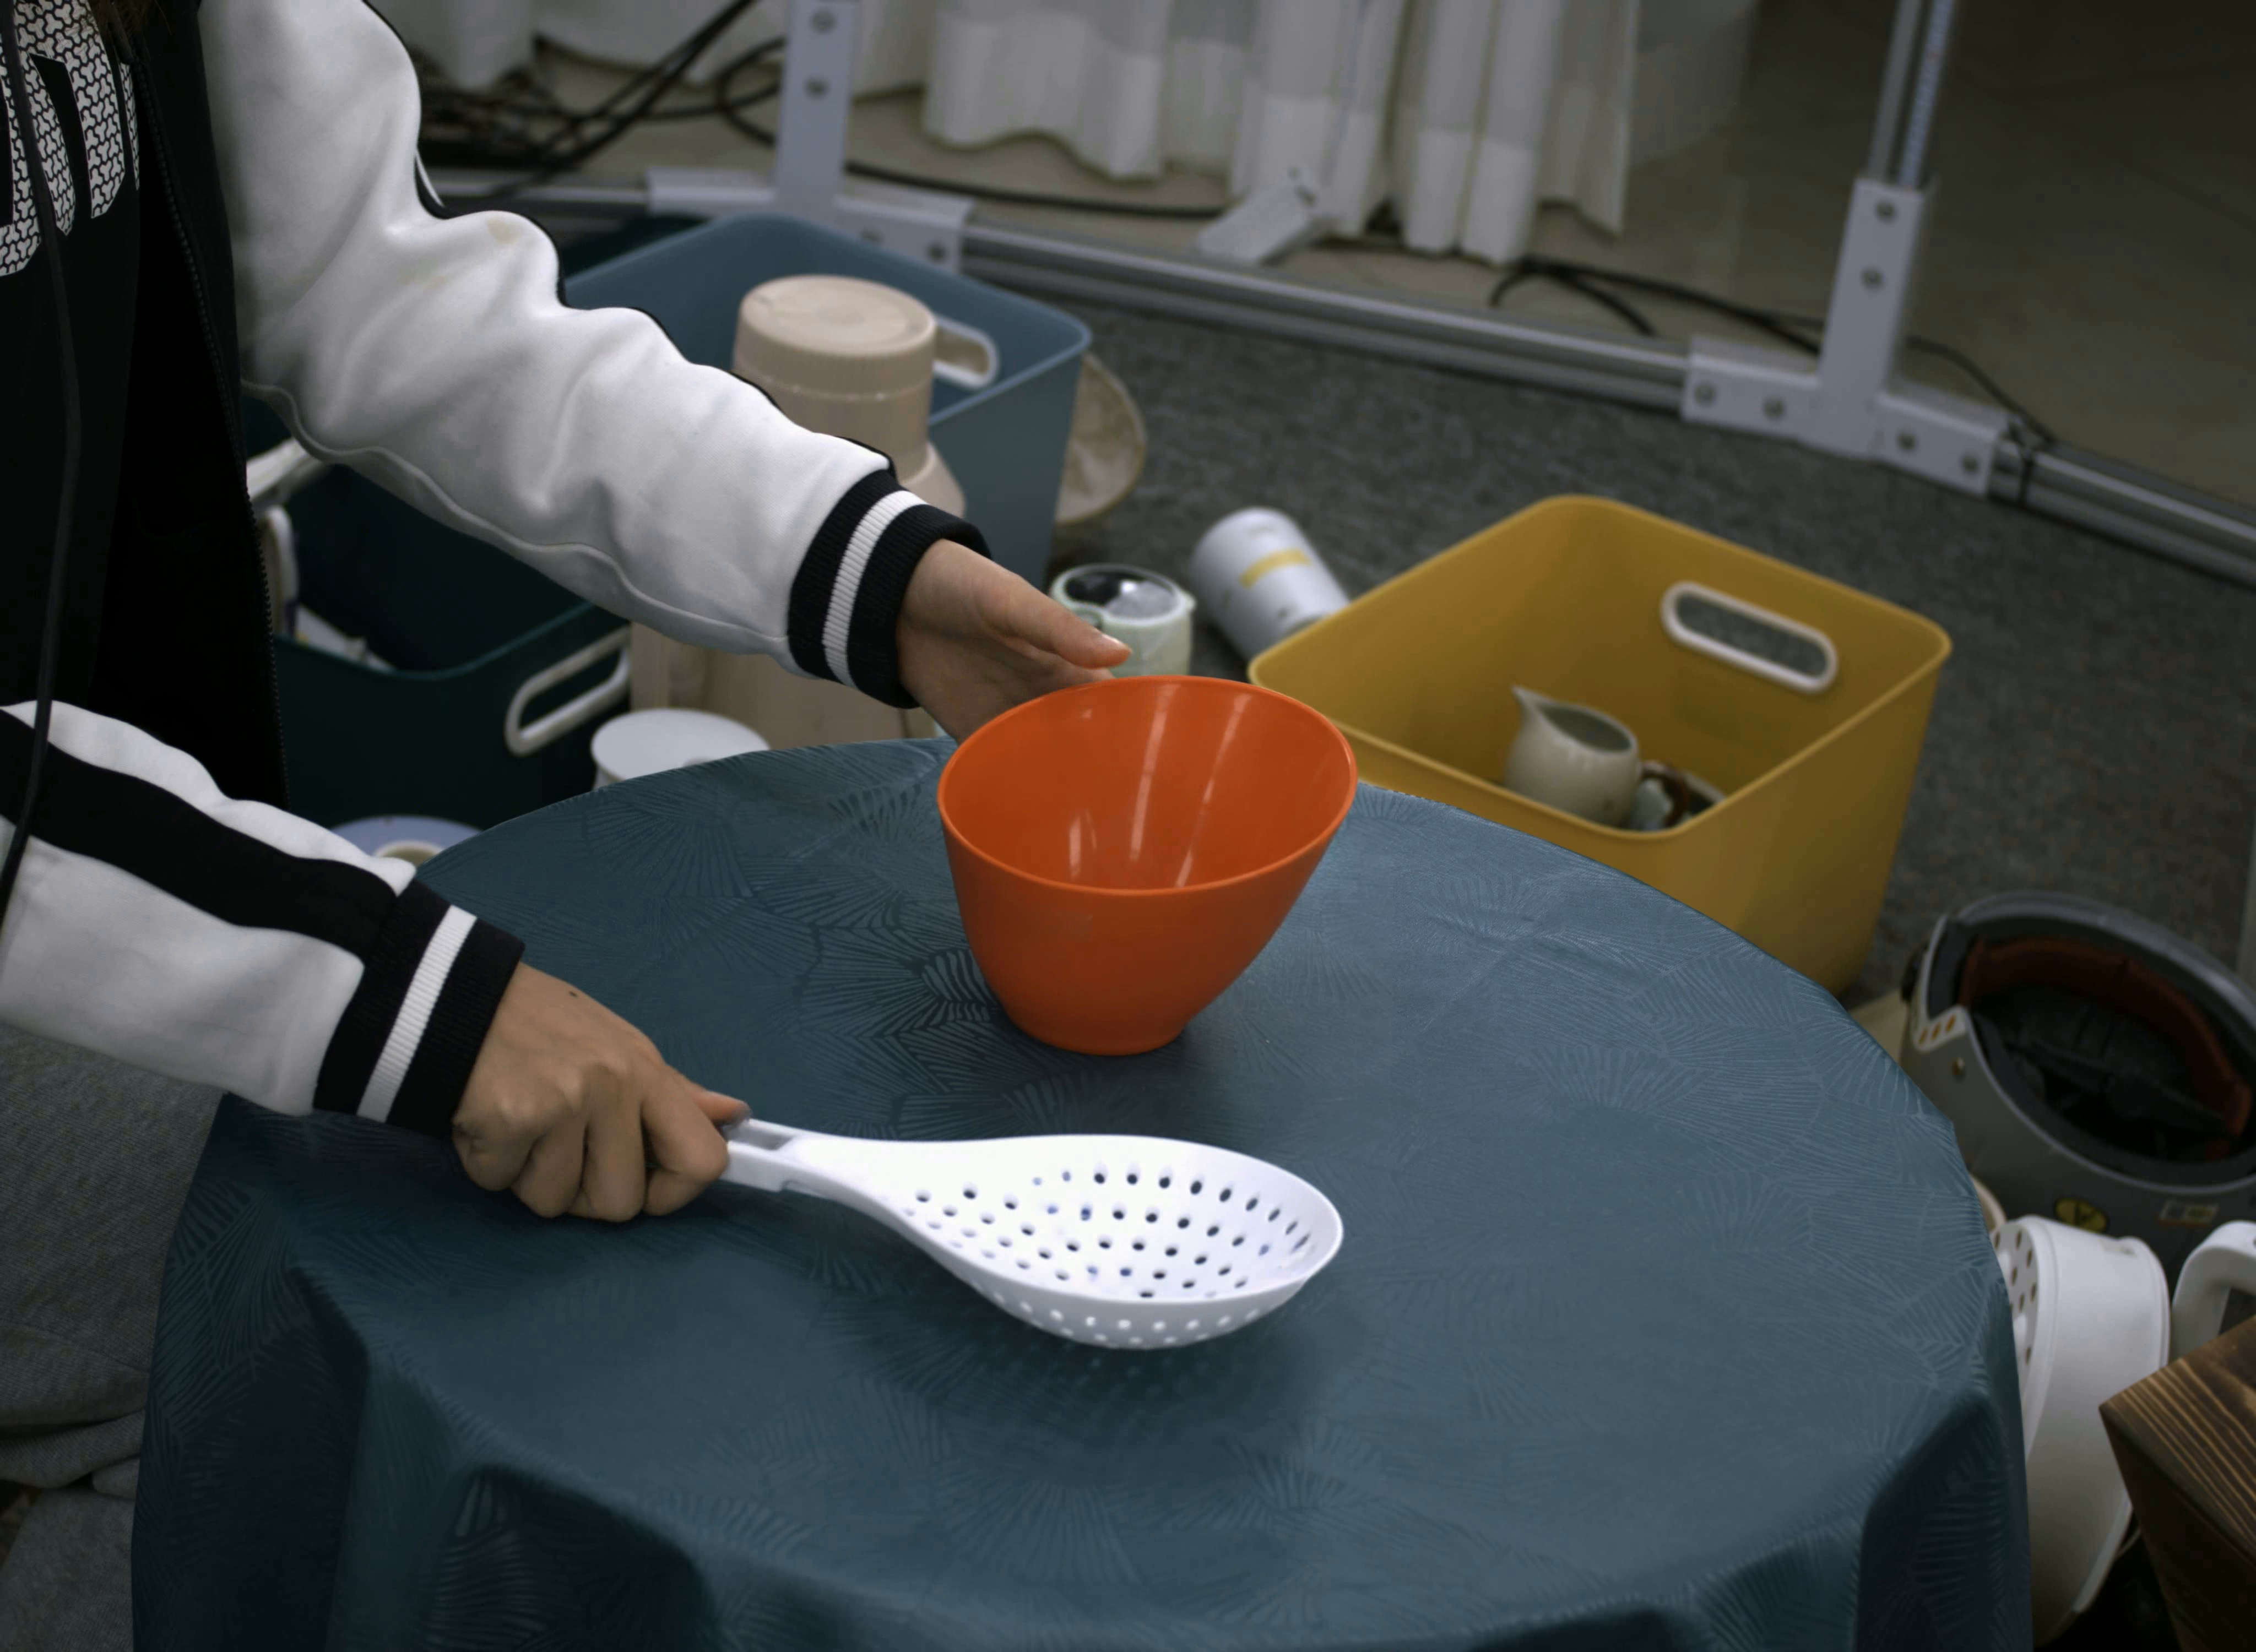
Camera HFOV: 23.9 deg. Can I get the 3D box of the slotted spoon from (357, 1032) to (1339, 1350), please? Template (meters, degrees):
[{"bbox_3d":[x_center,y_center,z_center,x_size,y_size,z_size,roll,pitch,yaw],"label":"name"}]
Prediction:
[{"bbox_3d":[-0.099,0.112,1.752,0.351,0.045,0.136,16,20,20],"label":"slotted spoon"}]

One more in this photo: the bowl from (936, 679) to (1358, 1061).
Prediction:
[{"bbox_3d":[0.003,0.022,1.894,0.147,0.104,0.149,5,29,-3],"label":"bowl"}]
